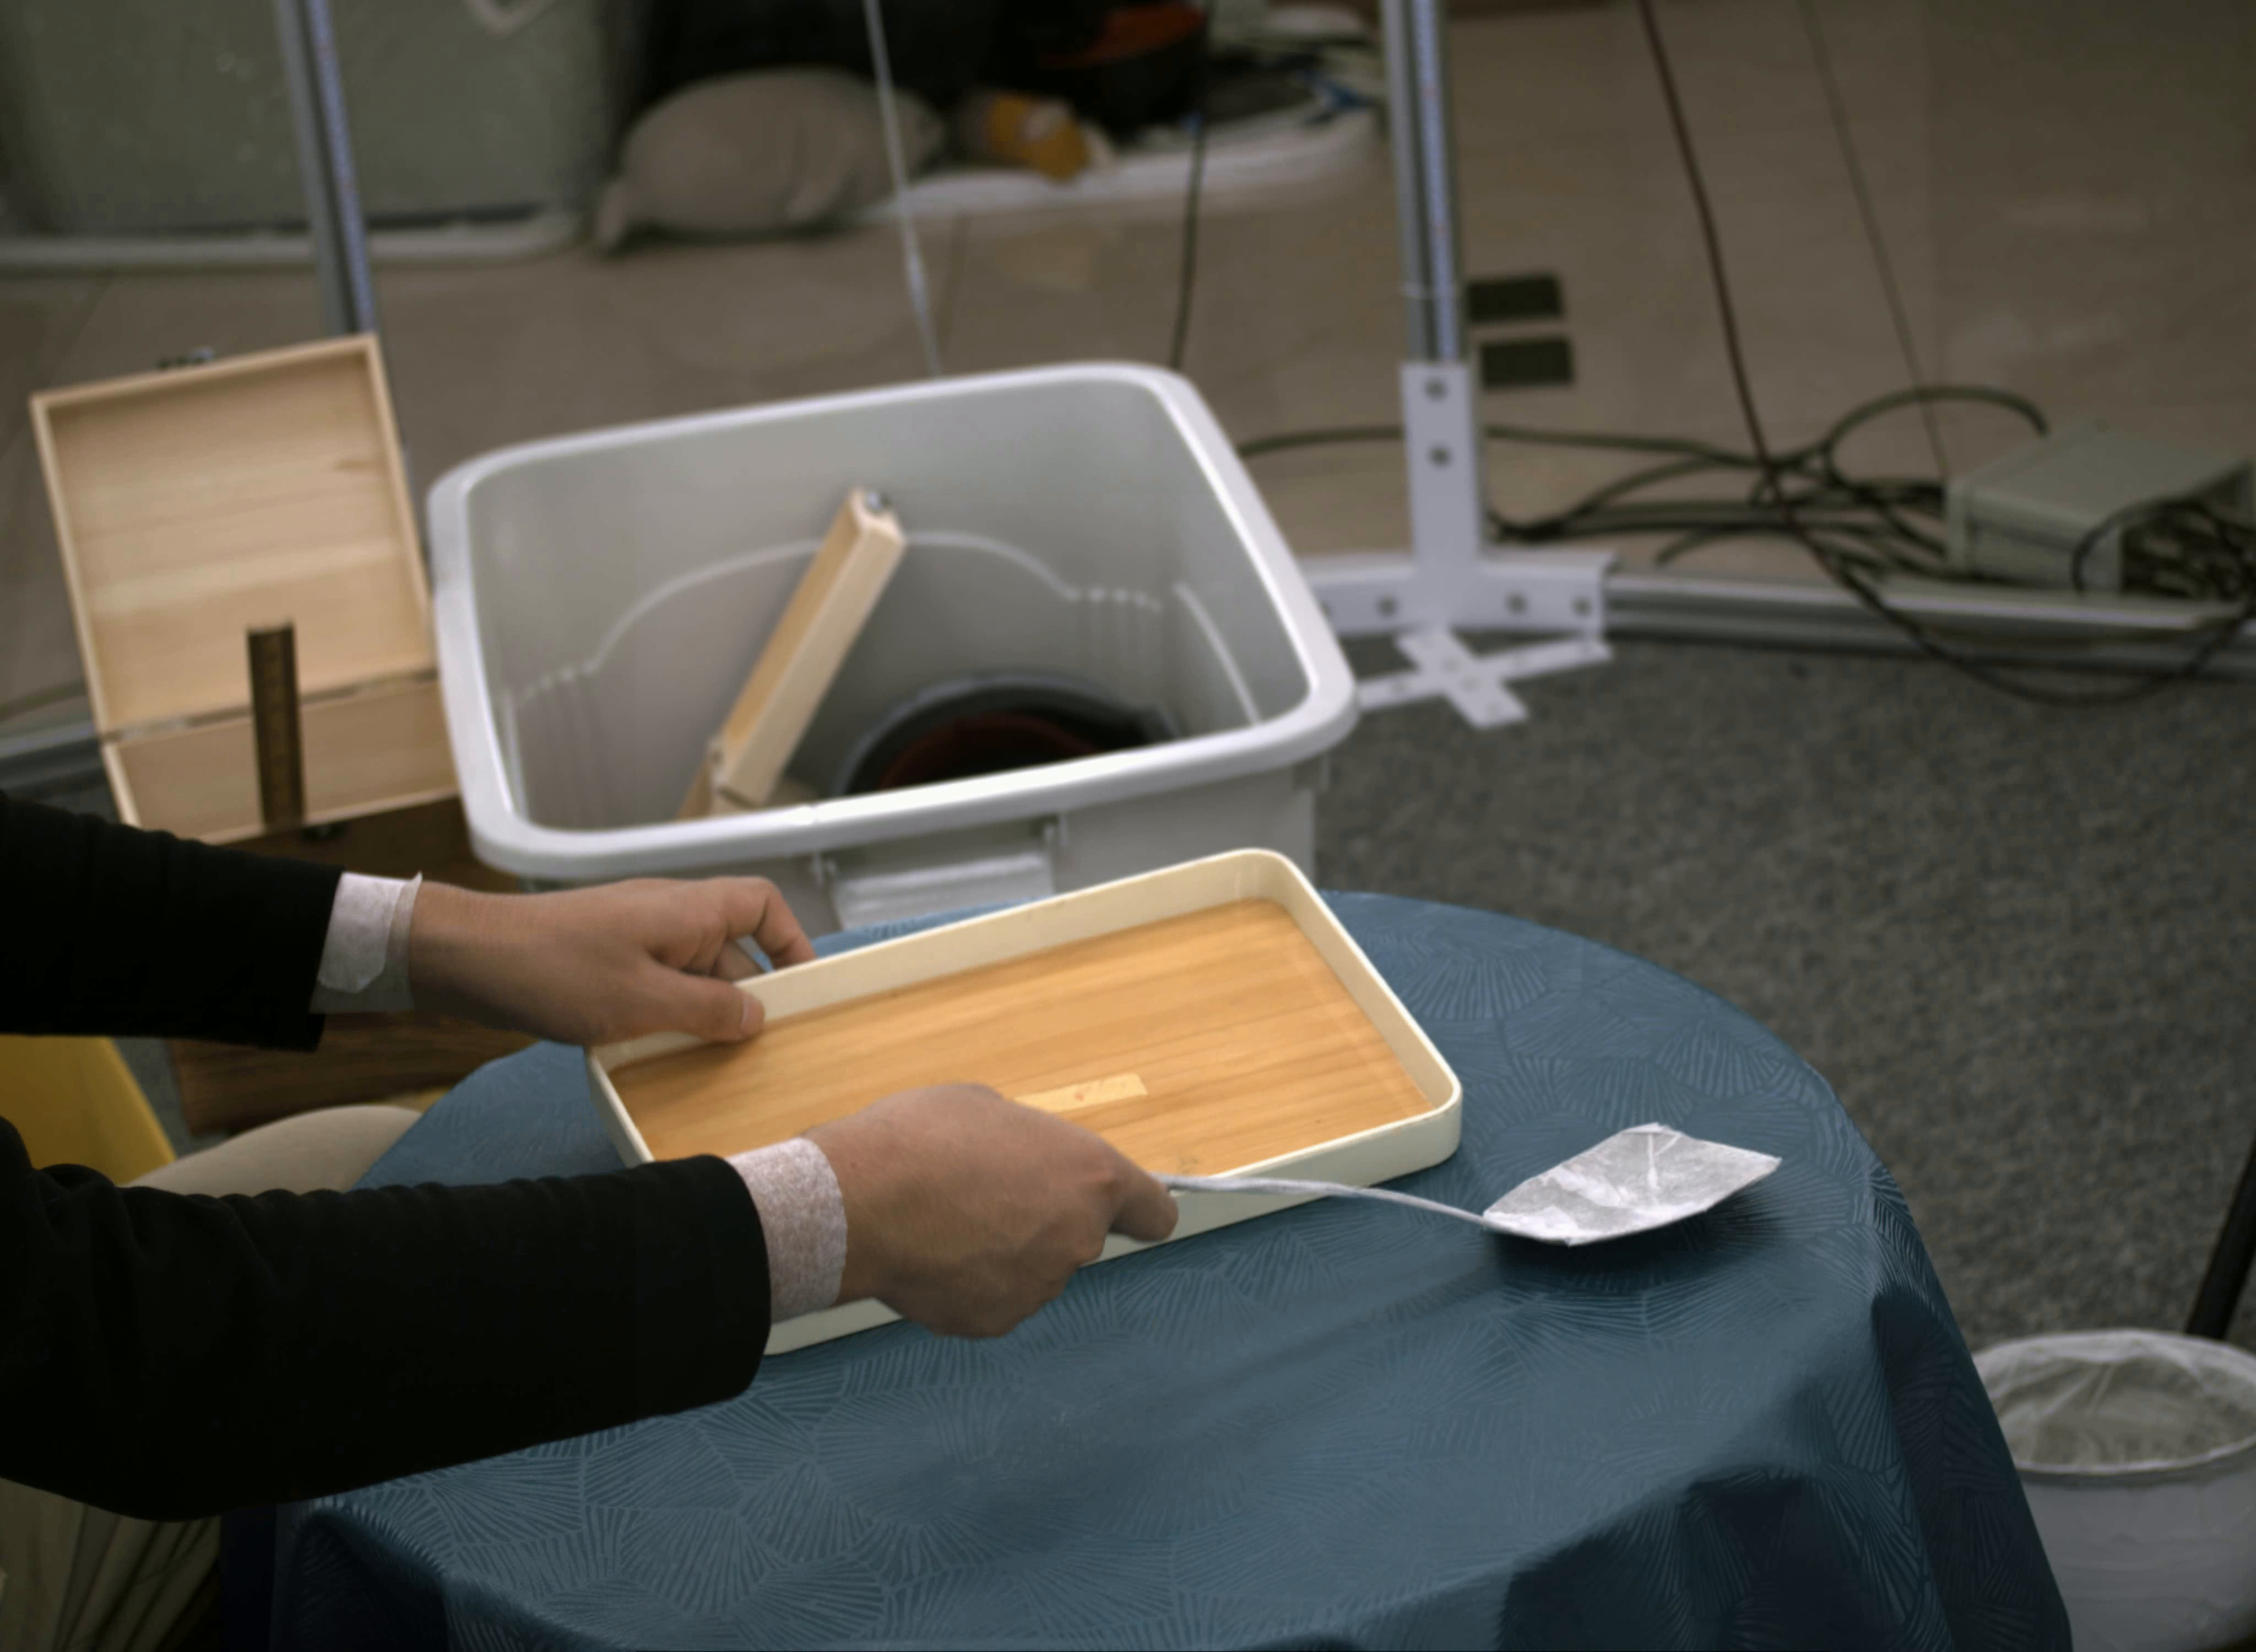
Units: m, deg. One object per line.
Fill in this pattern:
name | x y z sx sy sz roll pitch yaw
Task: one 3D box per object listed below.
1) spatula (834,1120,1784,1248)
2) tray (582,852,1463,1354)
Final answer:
spatula | 0.066 0.127 2.020 0.365 0.045 0.098 4 7 -29
tray | -0.041 0.102 2.165 0.299 0.028 0.188 -15 37 -17
